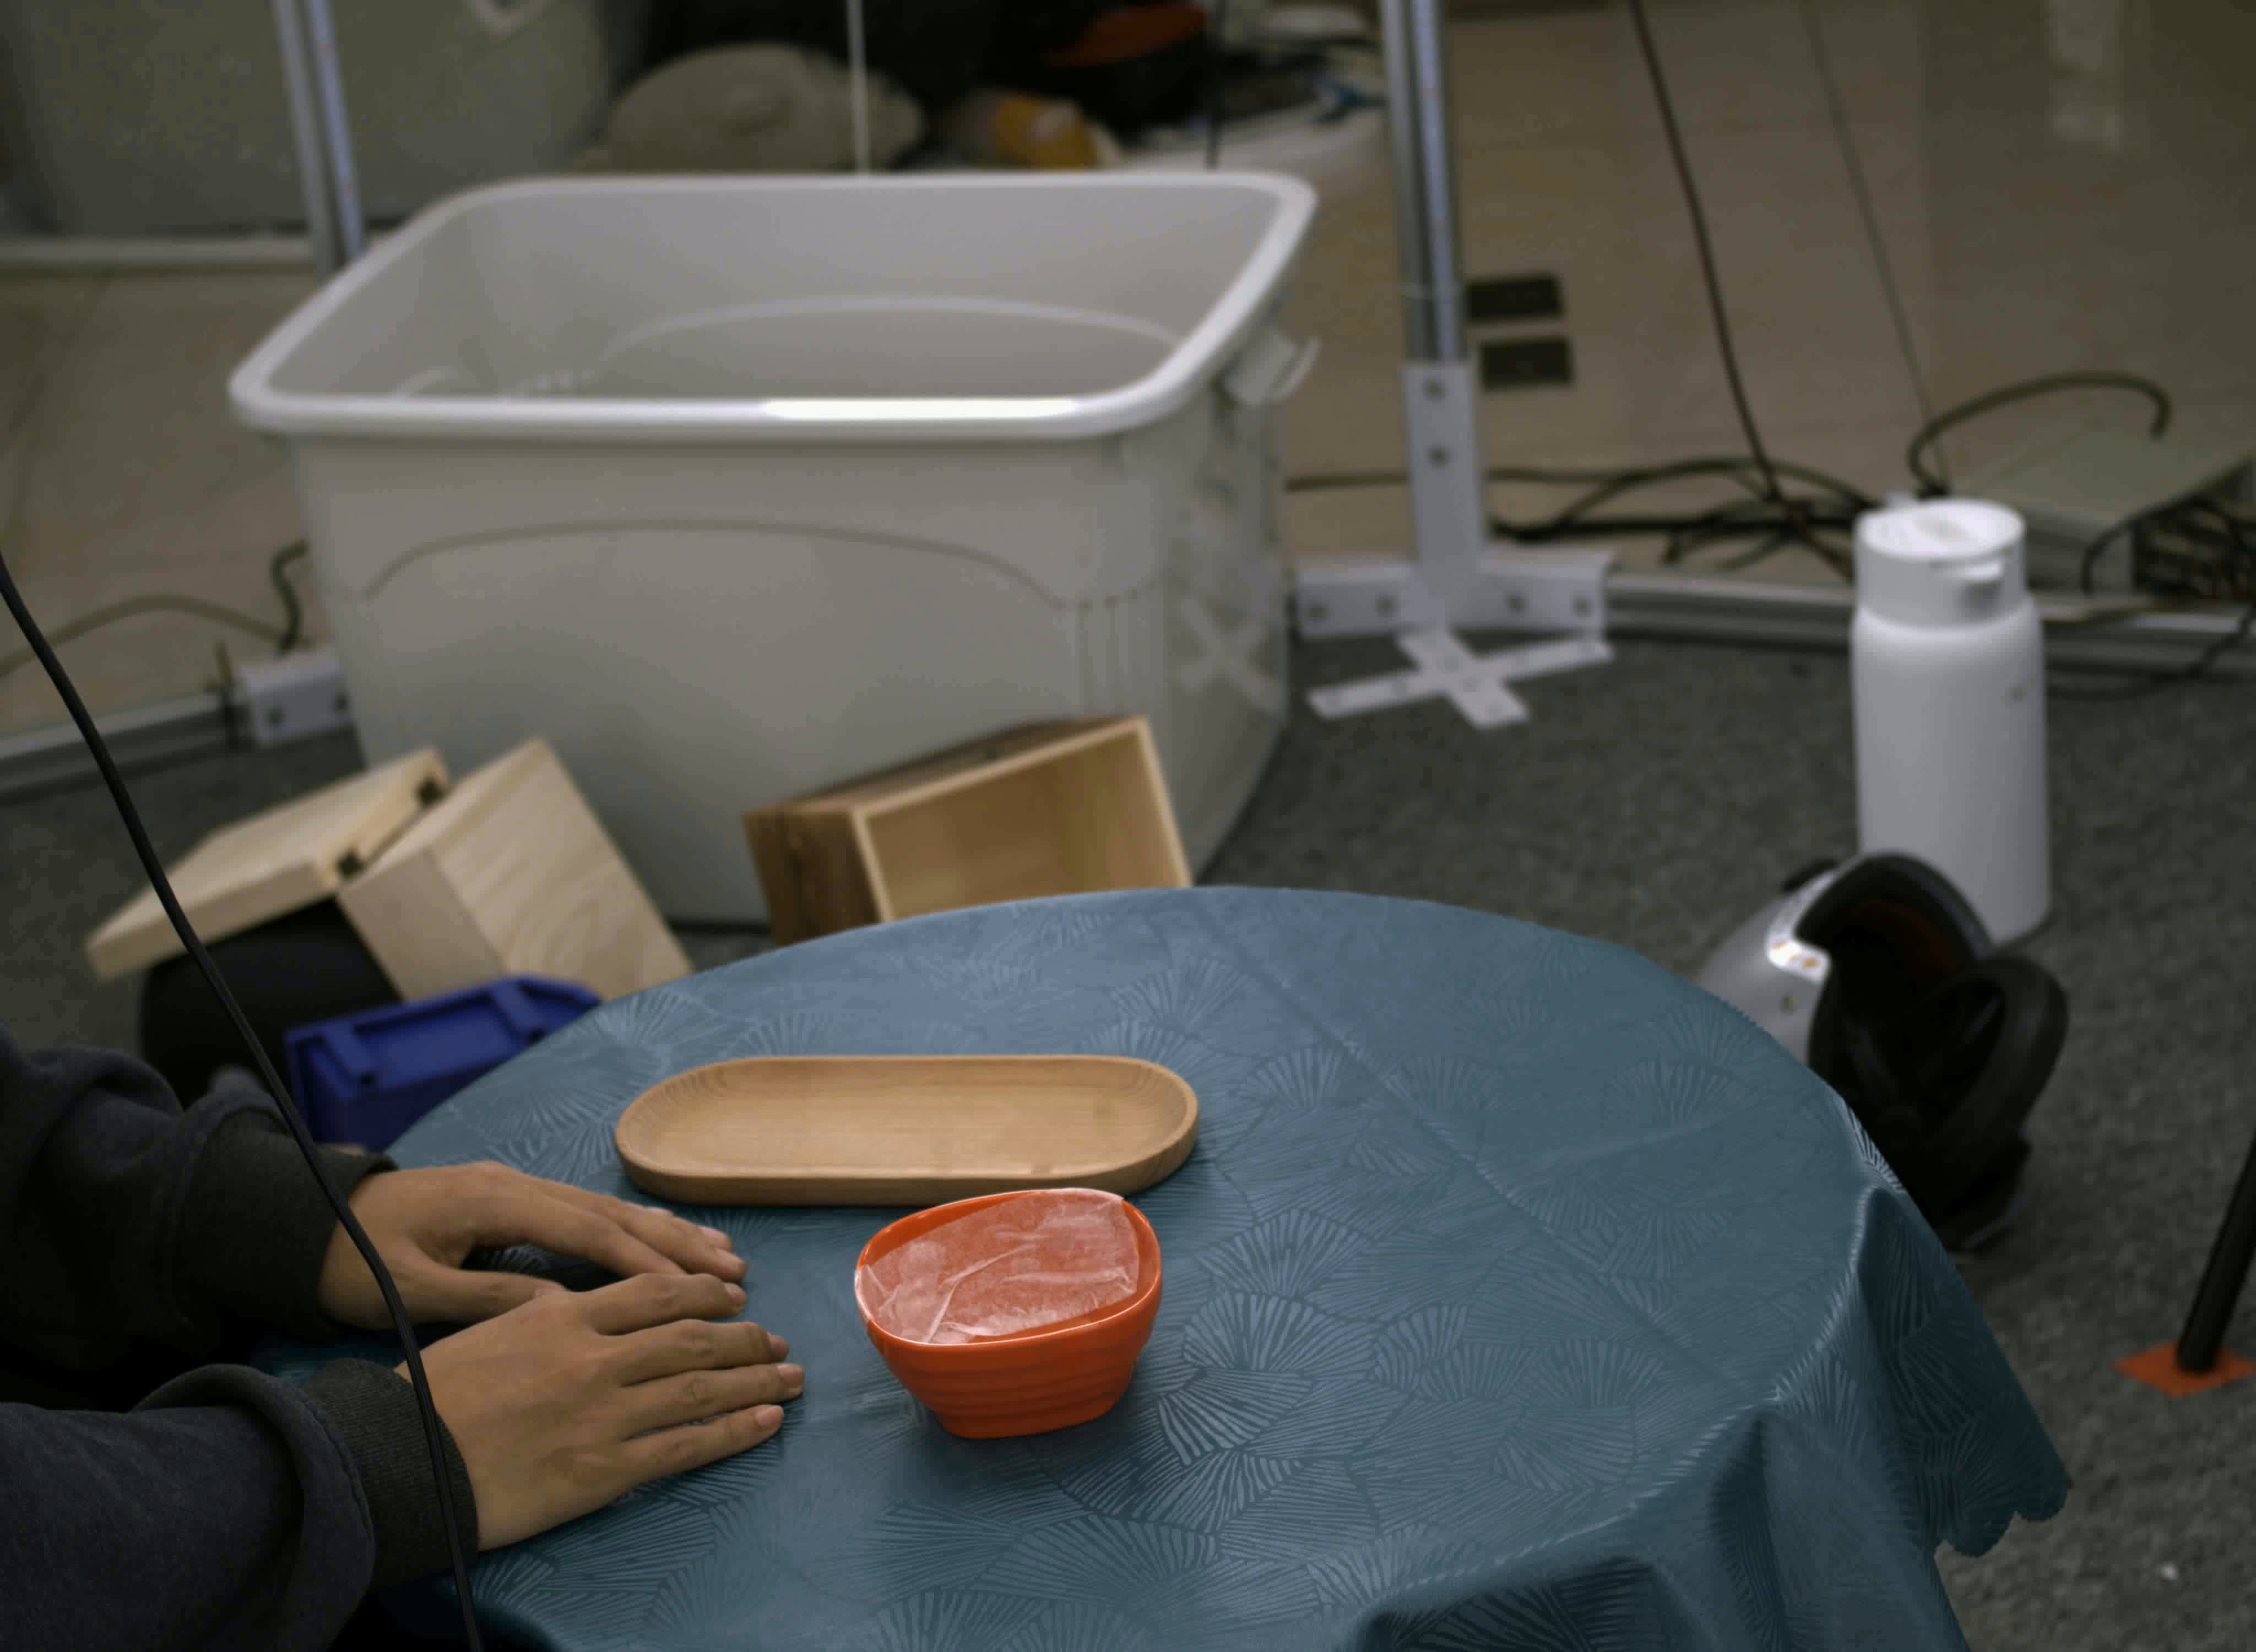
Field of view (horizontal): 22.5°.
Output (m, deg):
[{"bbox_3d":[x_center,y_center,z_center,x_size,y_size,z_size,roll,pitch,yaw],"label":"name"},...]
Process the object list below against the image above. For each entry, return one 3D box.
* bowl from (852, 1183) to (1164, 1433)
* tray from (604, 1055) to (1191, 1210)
[{"bbox_3d":[-0.041,0.176,2.012,0.119,0.052,0.117,-4,26,2],"label":"bowl"},{"bbox_3d":[-0.089,0.119,2.192,0.231,0.020,0.100,-2,24,12],"label":"tray"}]
